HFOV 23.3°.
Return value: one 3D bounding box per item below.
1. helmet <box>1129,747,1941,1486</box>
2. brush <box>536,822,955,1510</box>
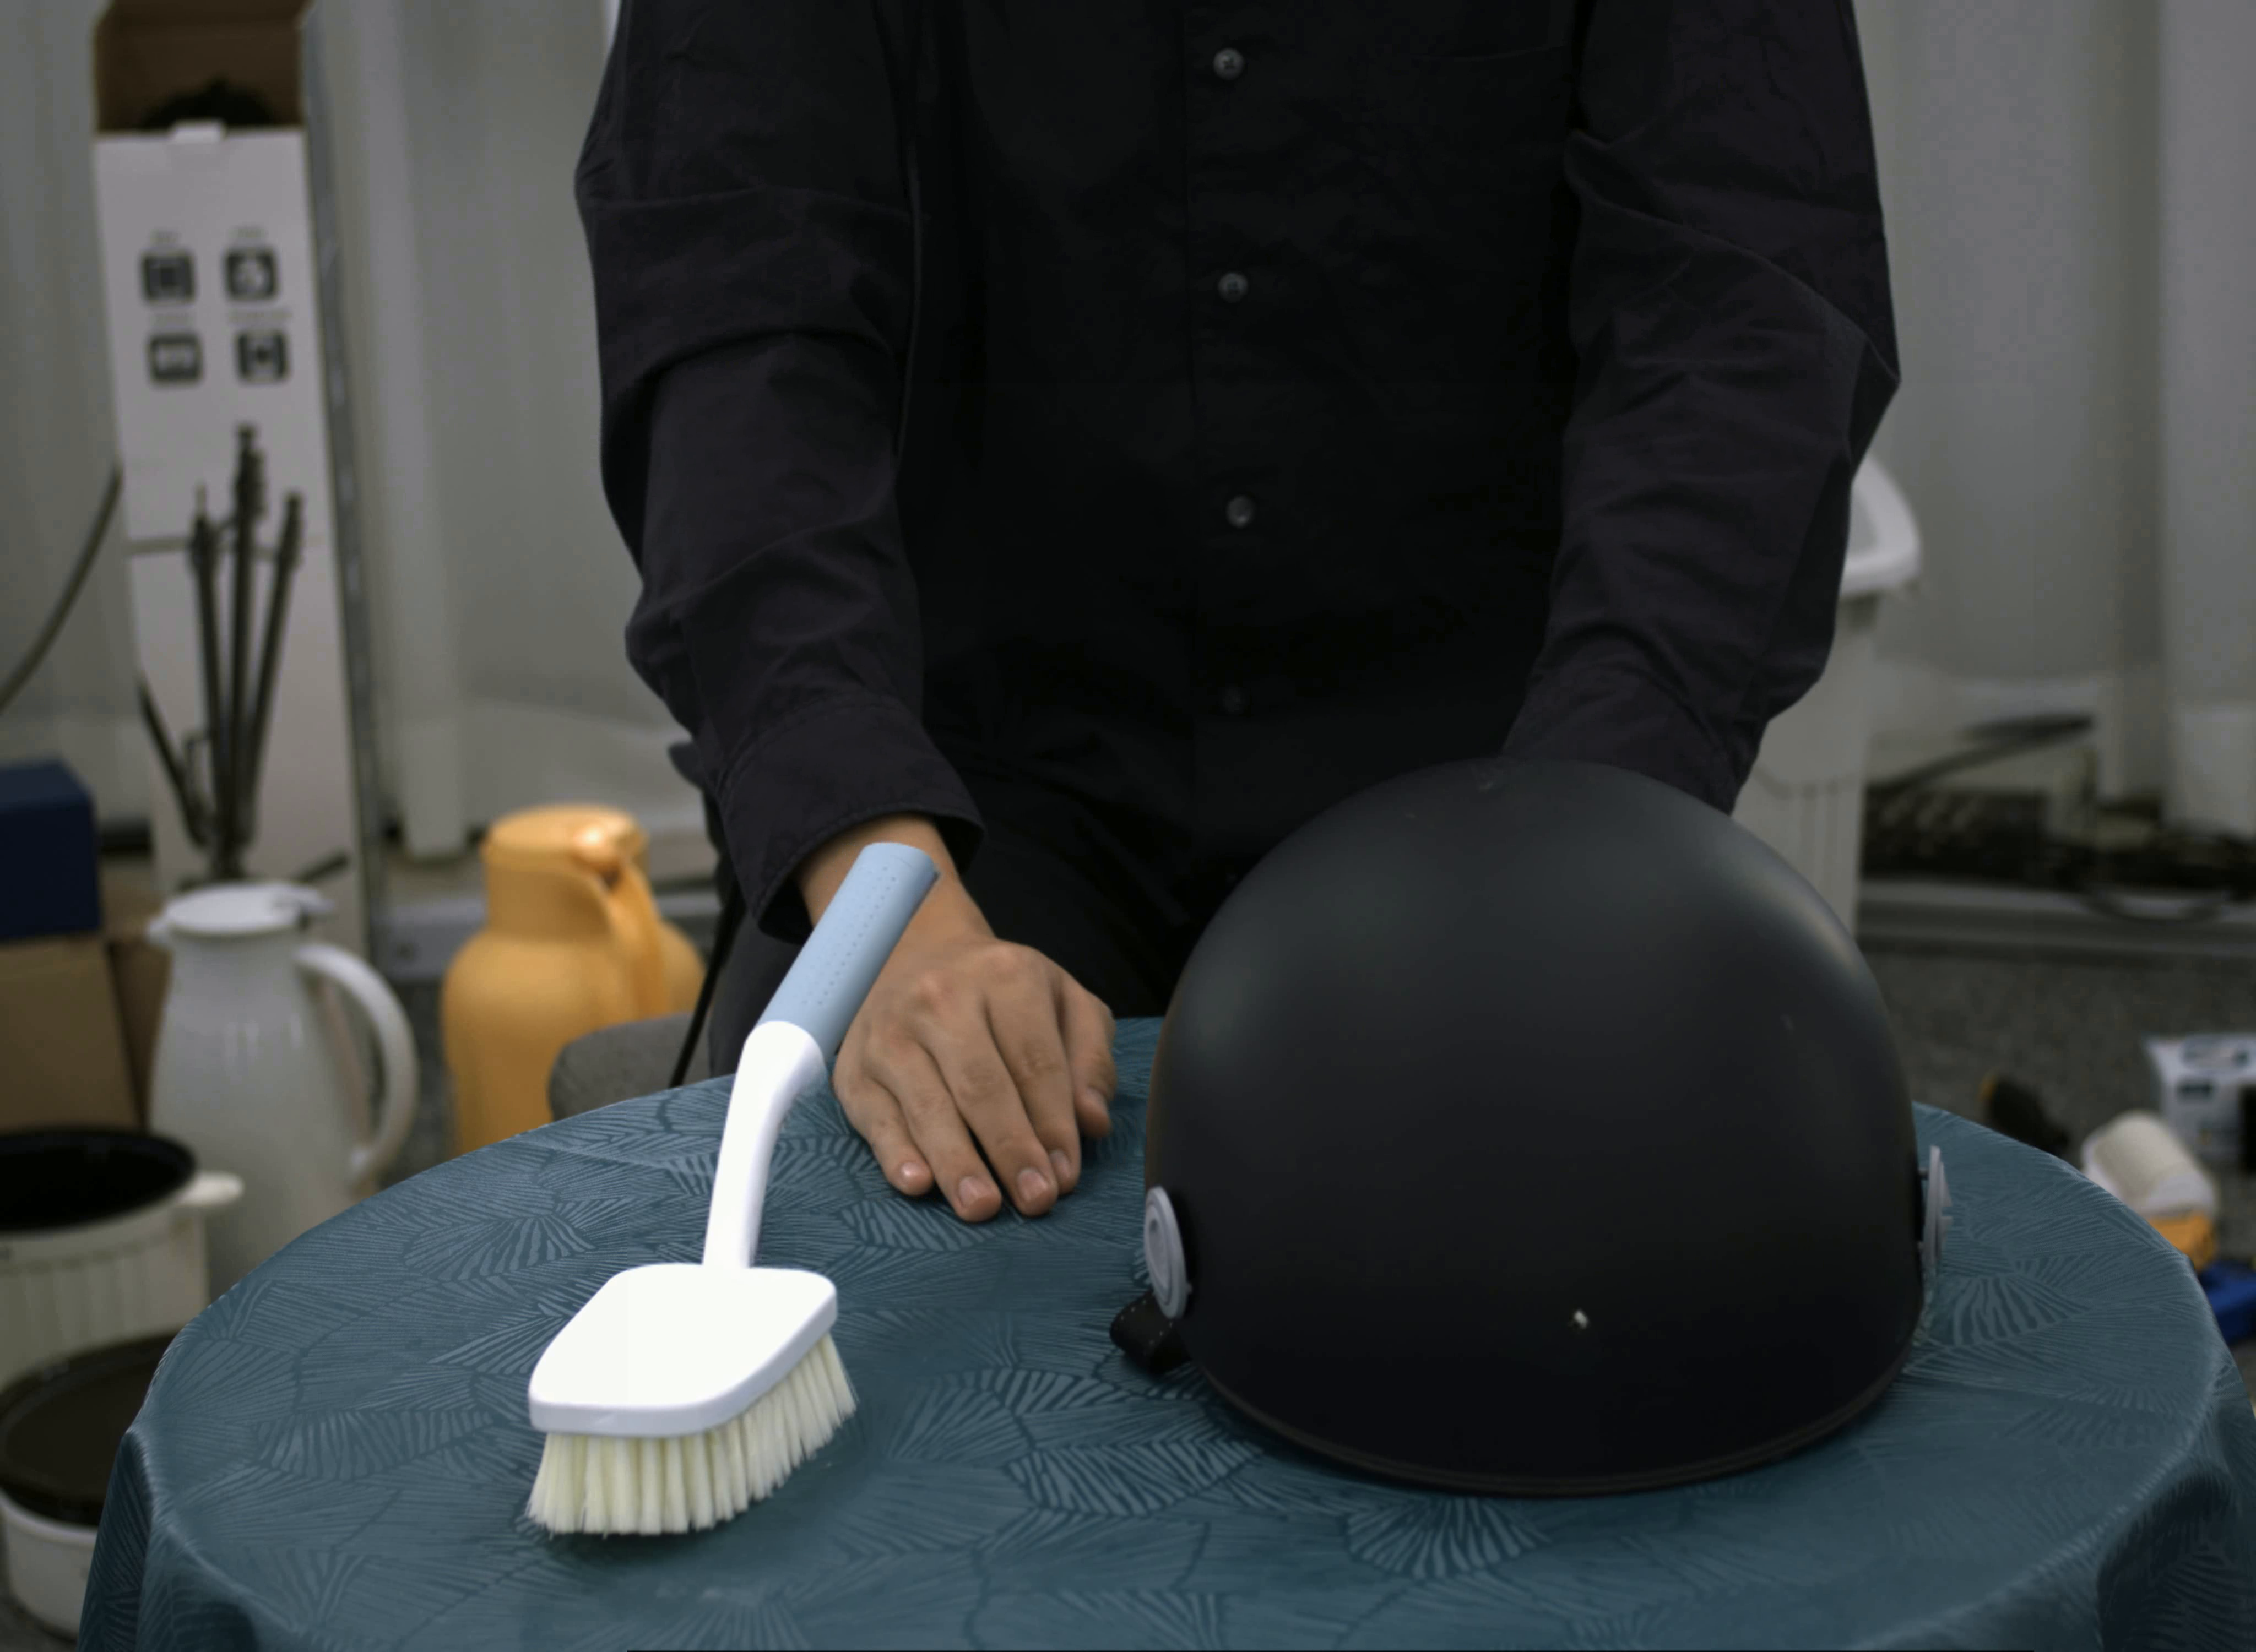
[{"bbox_3d":[0.113,0.068,1.567,0.229,0.166,0.275,-3,17,0],"label":"helmet"},{"bbox_3d":[-0.096,0.110,1.591,0.083,0.084,0.328,33,31,-3],"label":"brush"}]
